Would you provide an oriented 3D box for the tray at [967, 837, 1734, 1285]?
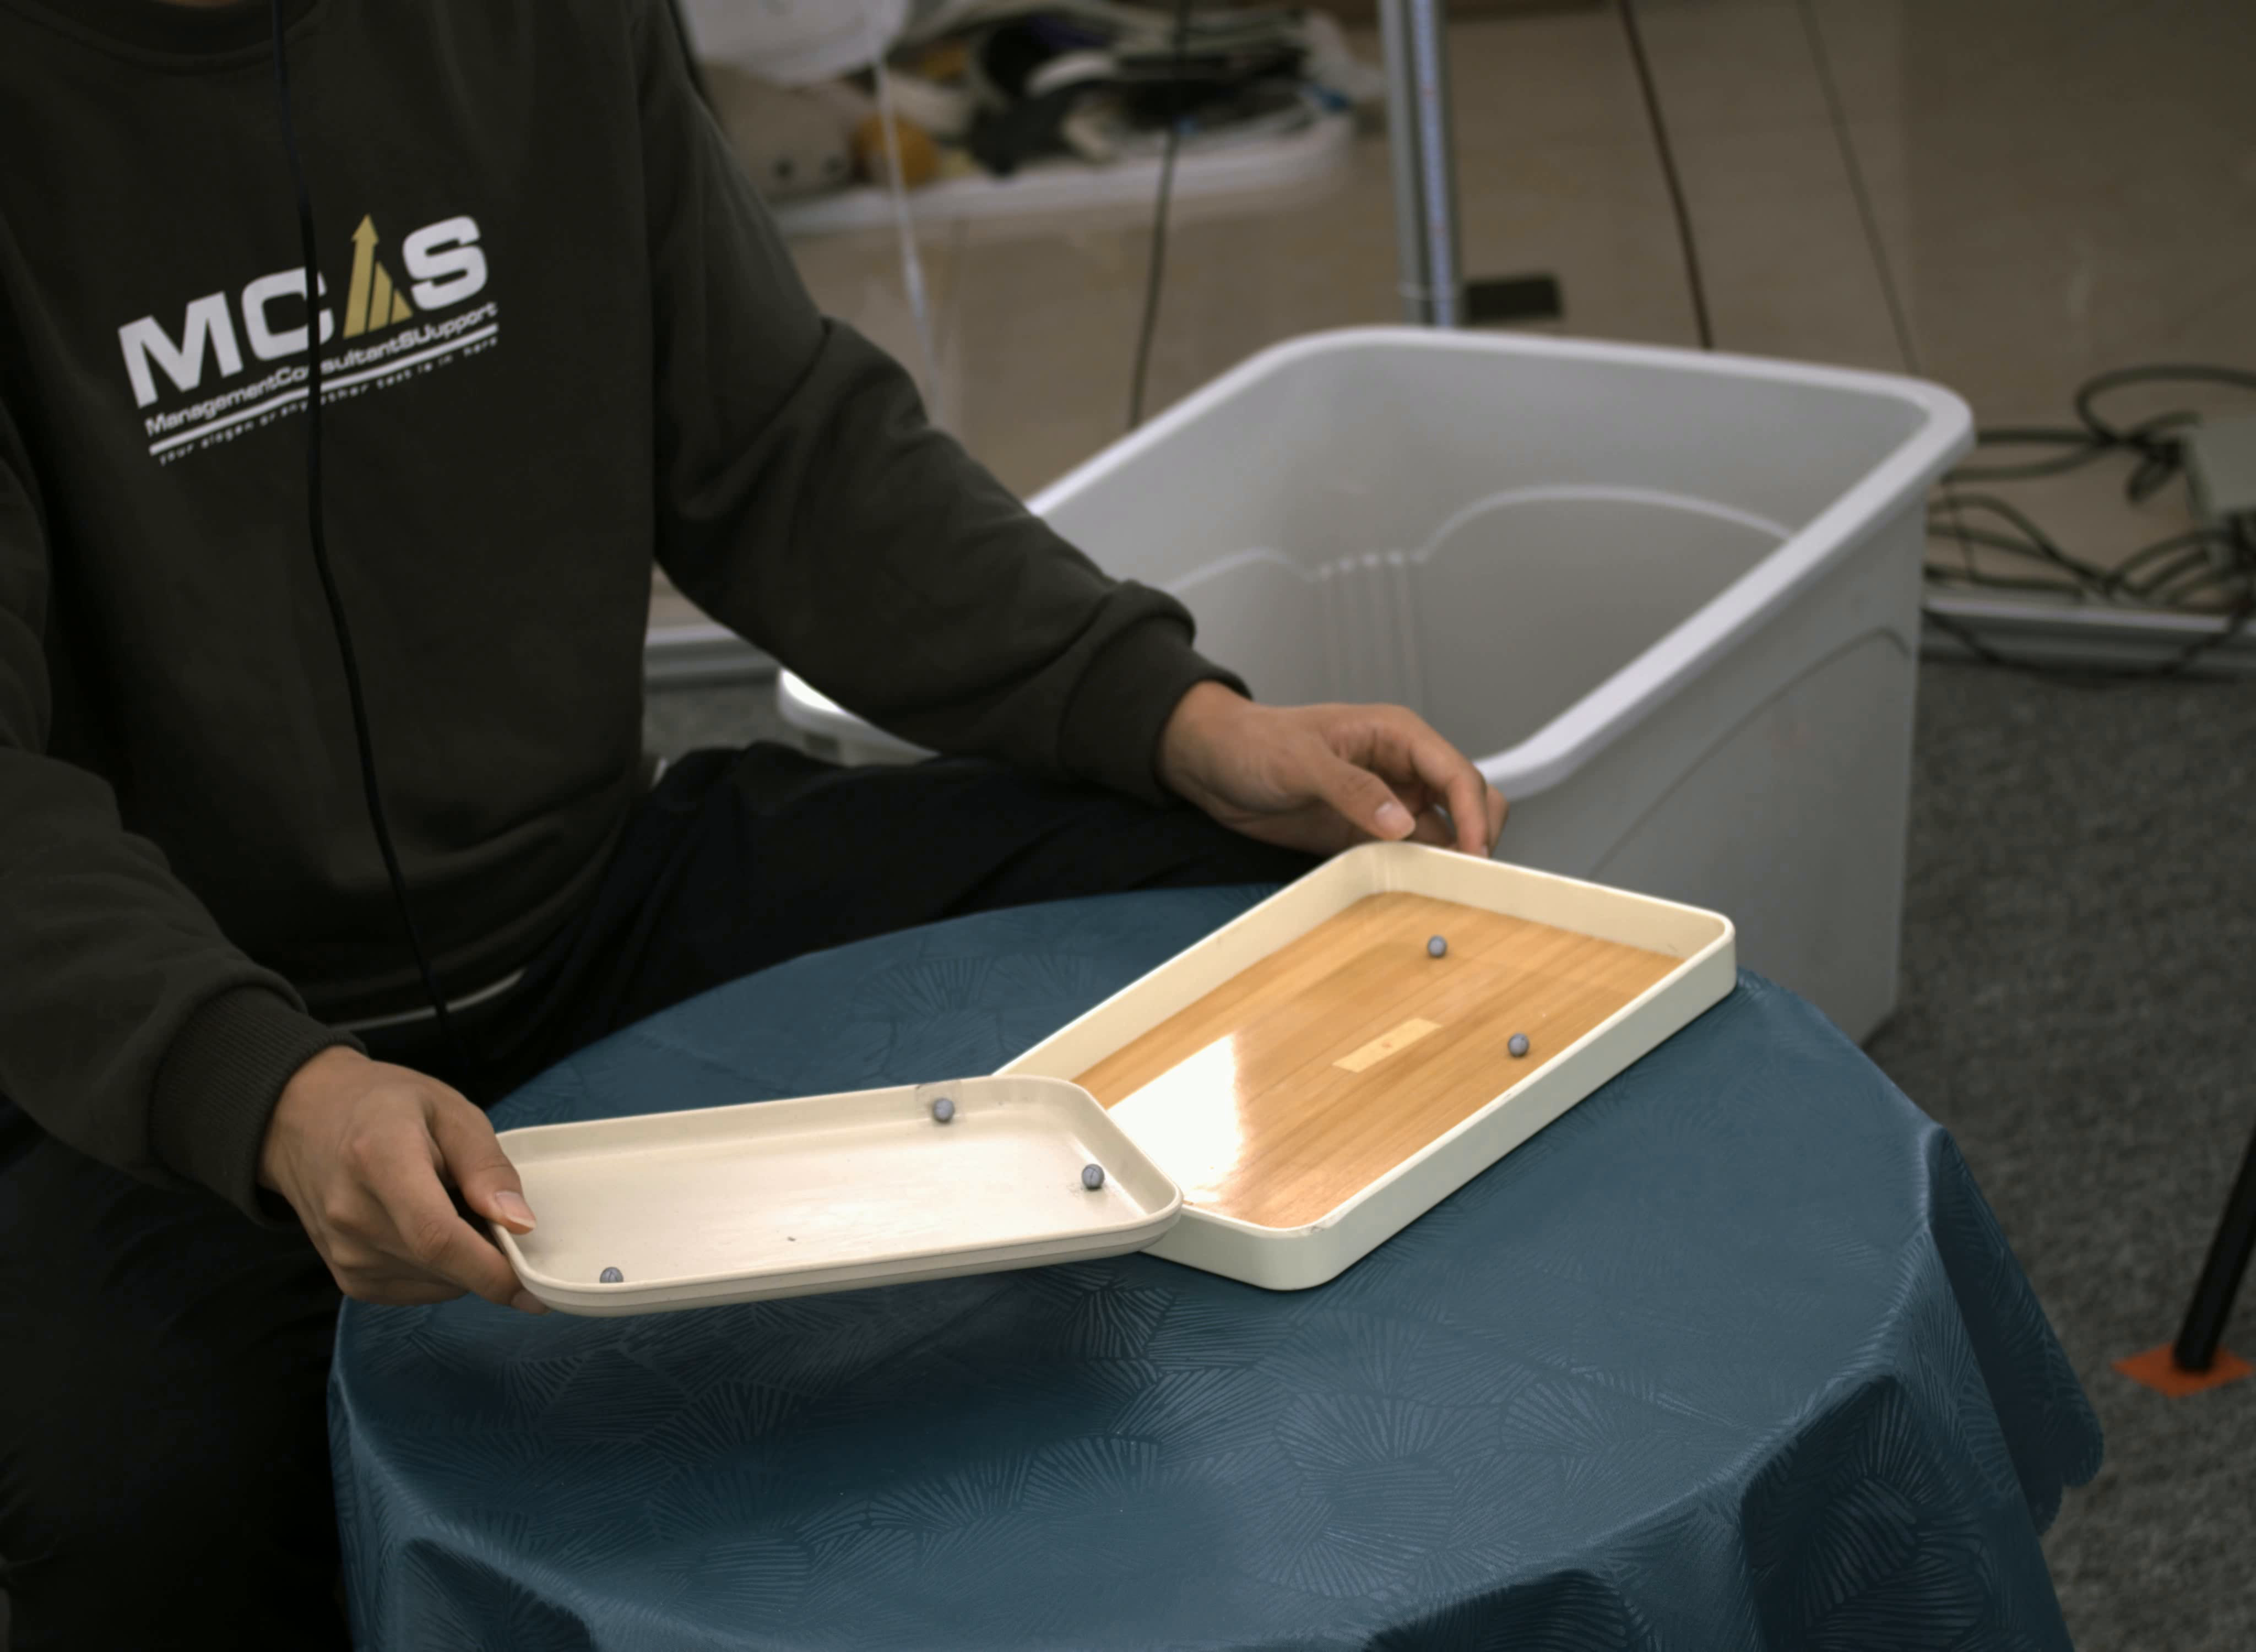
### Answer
[{"bbox_3d":[0.082,0.087,2.209,0.190,0.028,0.297,14,31,37],"label":"tray"}]

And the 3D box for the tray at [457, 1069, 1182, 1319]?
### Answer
[{"bbox_3d":[-0.112,0.132,2.033,0.239,0.018,0.169,-6,18,-17],"label":"tray"}]
